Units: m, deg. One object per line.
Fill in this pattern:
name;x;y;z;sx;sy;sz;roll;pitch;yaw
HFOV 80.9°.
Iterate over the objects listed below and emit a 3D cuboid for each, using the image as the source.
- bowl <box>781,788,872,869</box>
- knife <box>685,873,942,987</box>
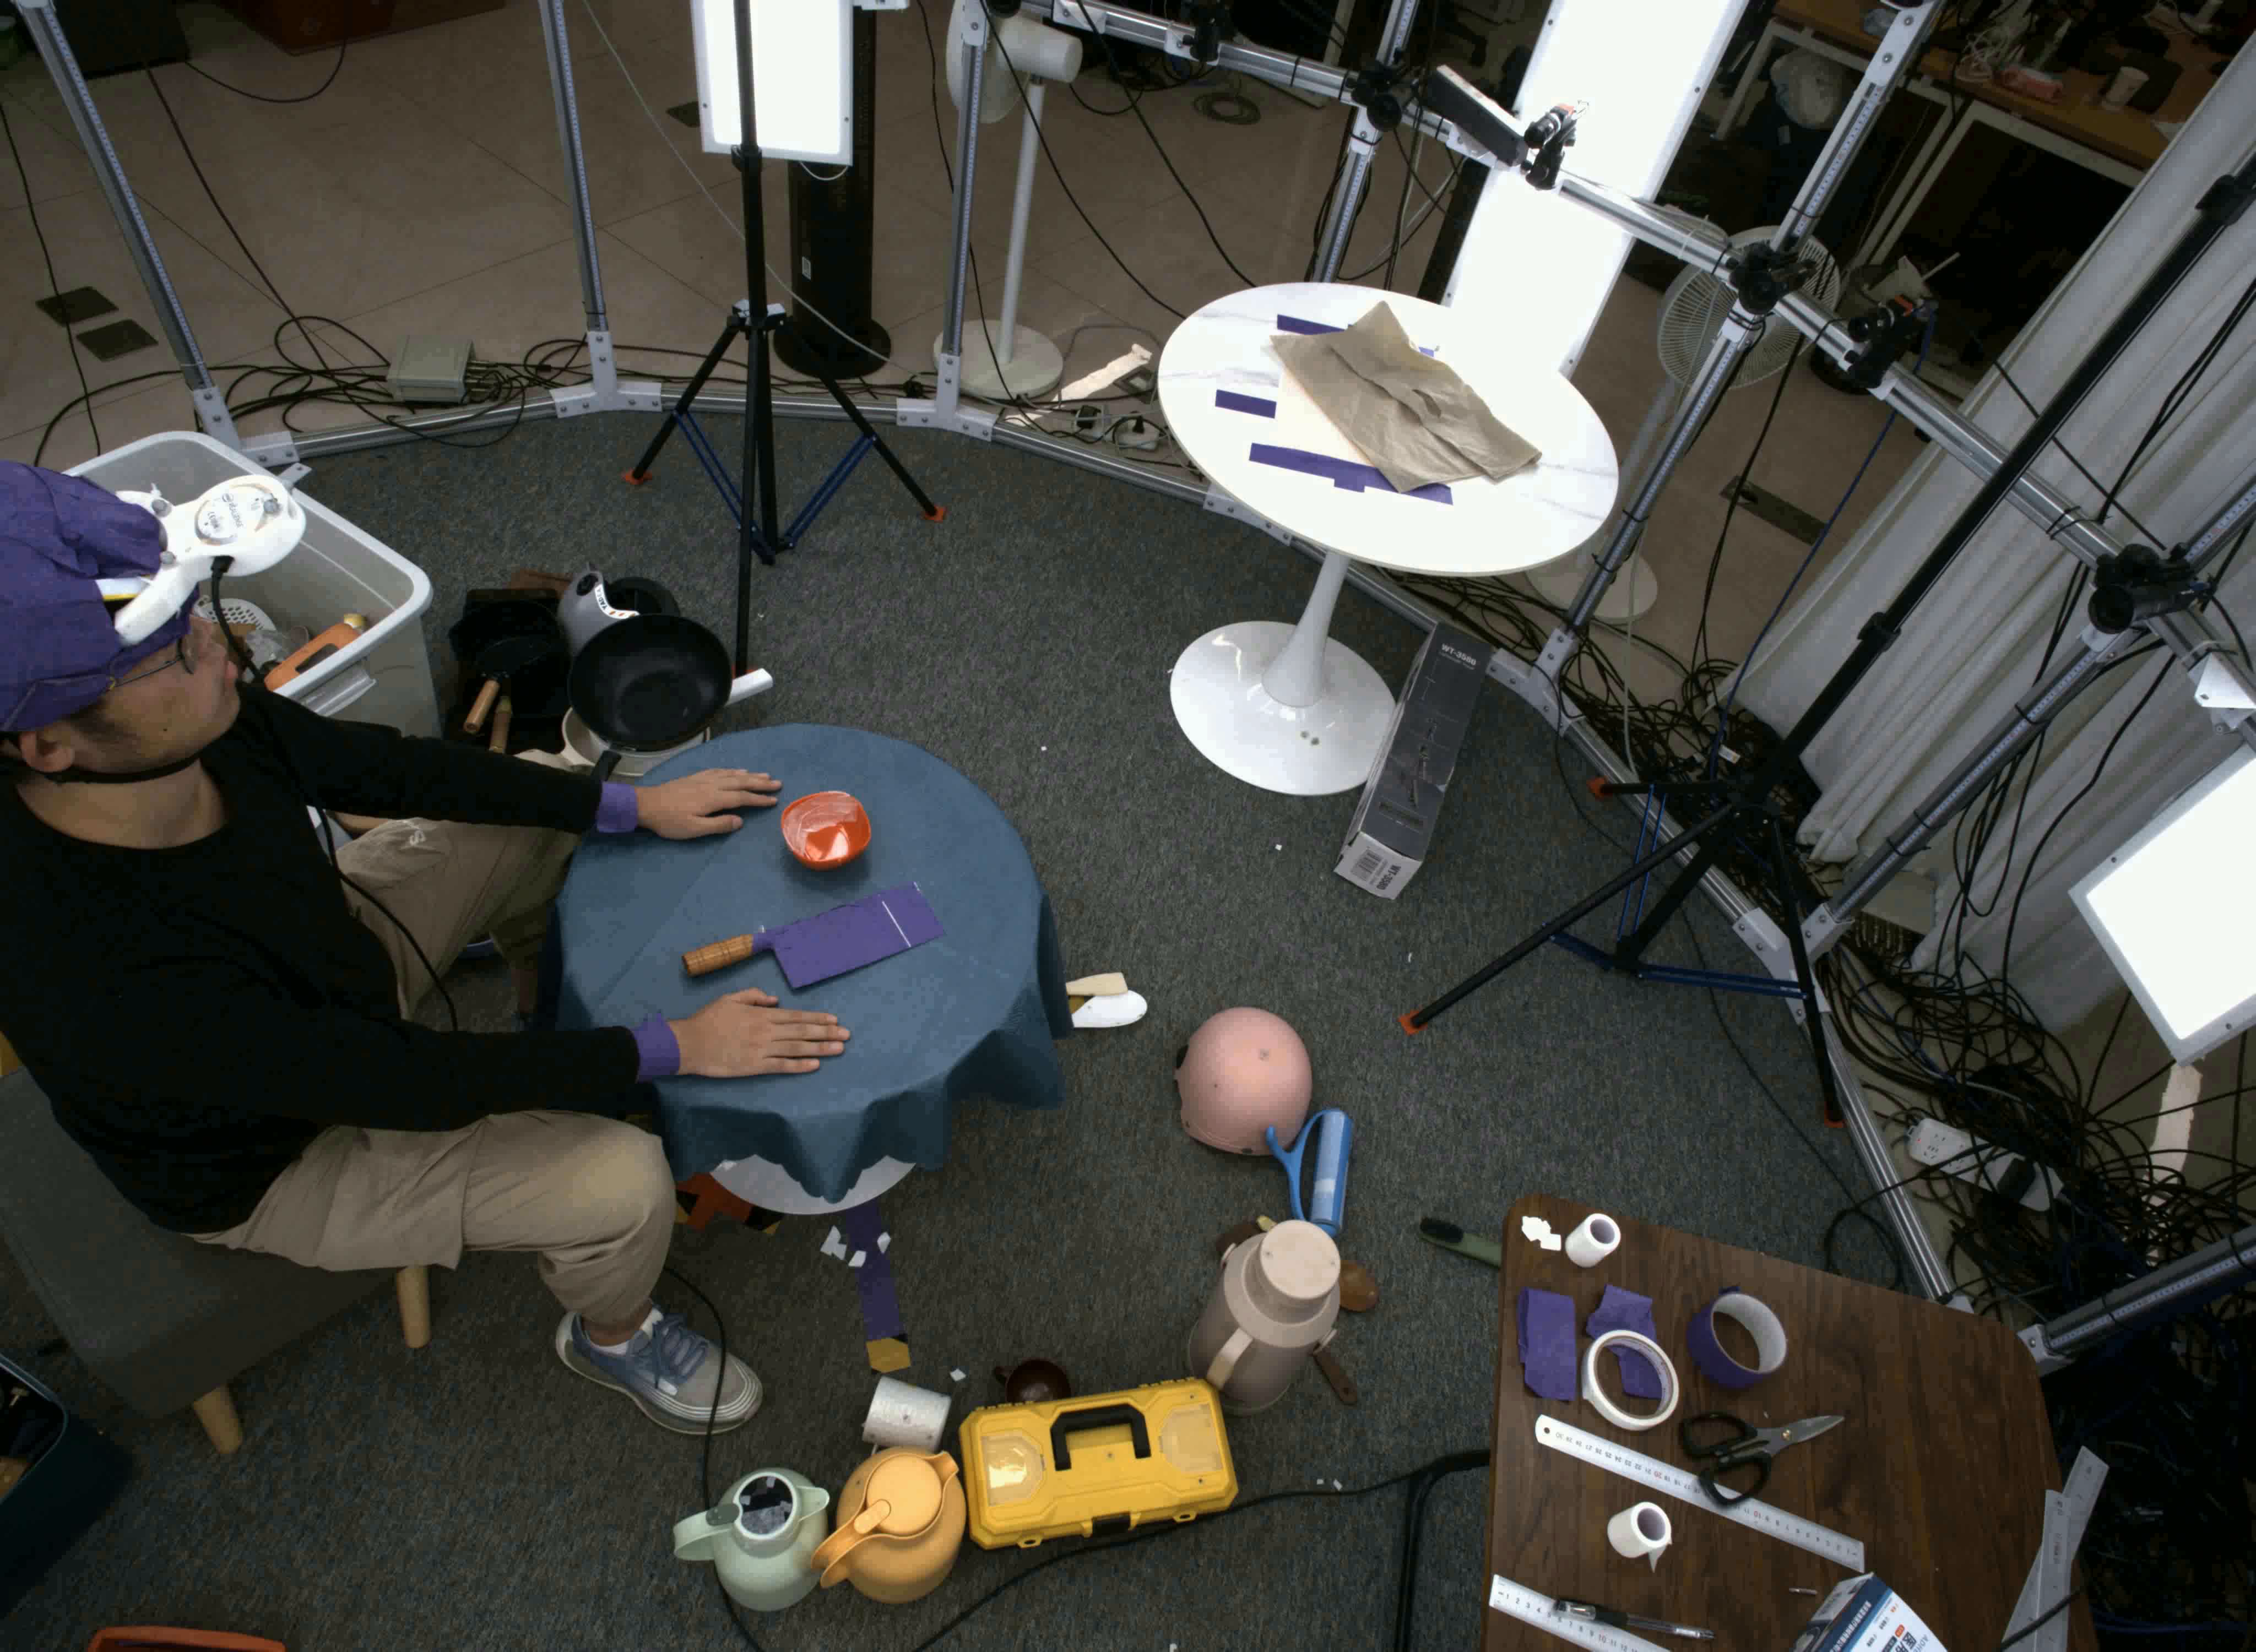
bowl;-0.392;0.011;1.685;0.119;0.052;0.117;10;51;-11
knife;-0.383;0.144;1.608;0.317;0.033;0.101;-22;61;-28
